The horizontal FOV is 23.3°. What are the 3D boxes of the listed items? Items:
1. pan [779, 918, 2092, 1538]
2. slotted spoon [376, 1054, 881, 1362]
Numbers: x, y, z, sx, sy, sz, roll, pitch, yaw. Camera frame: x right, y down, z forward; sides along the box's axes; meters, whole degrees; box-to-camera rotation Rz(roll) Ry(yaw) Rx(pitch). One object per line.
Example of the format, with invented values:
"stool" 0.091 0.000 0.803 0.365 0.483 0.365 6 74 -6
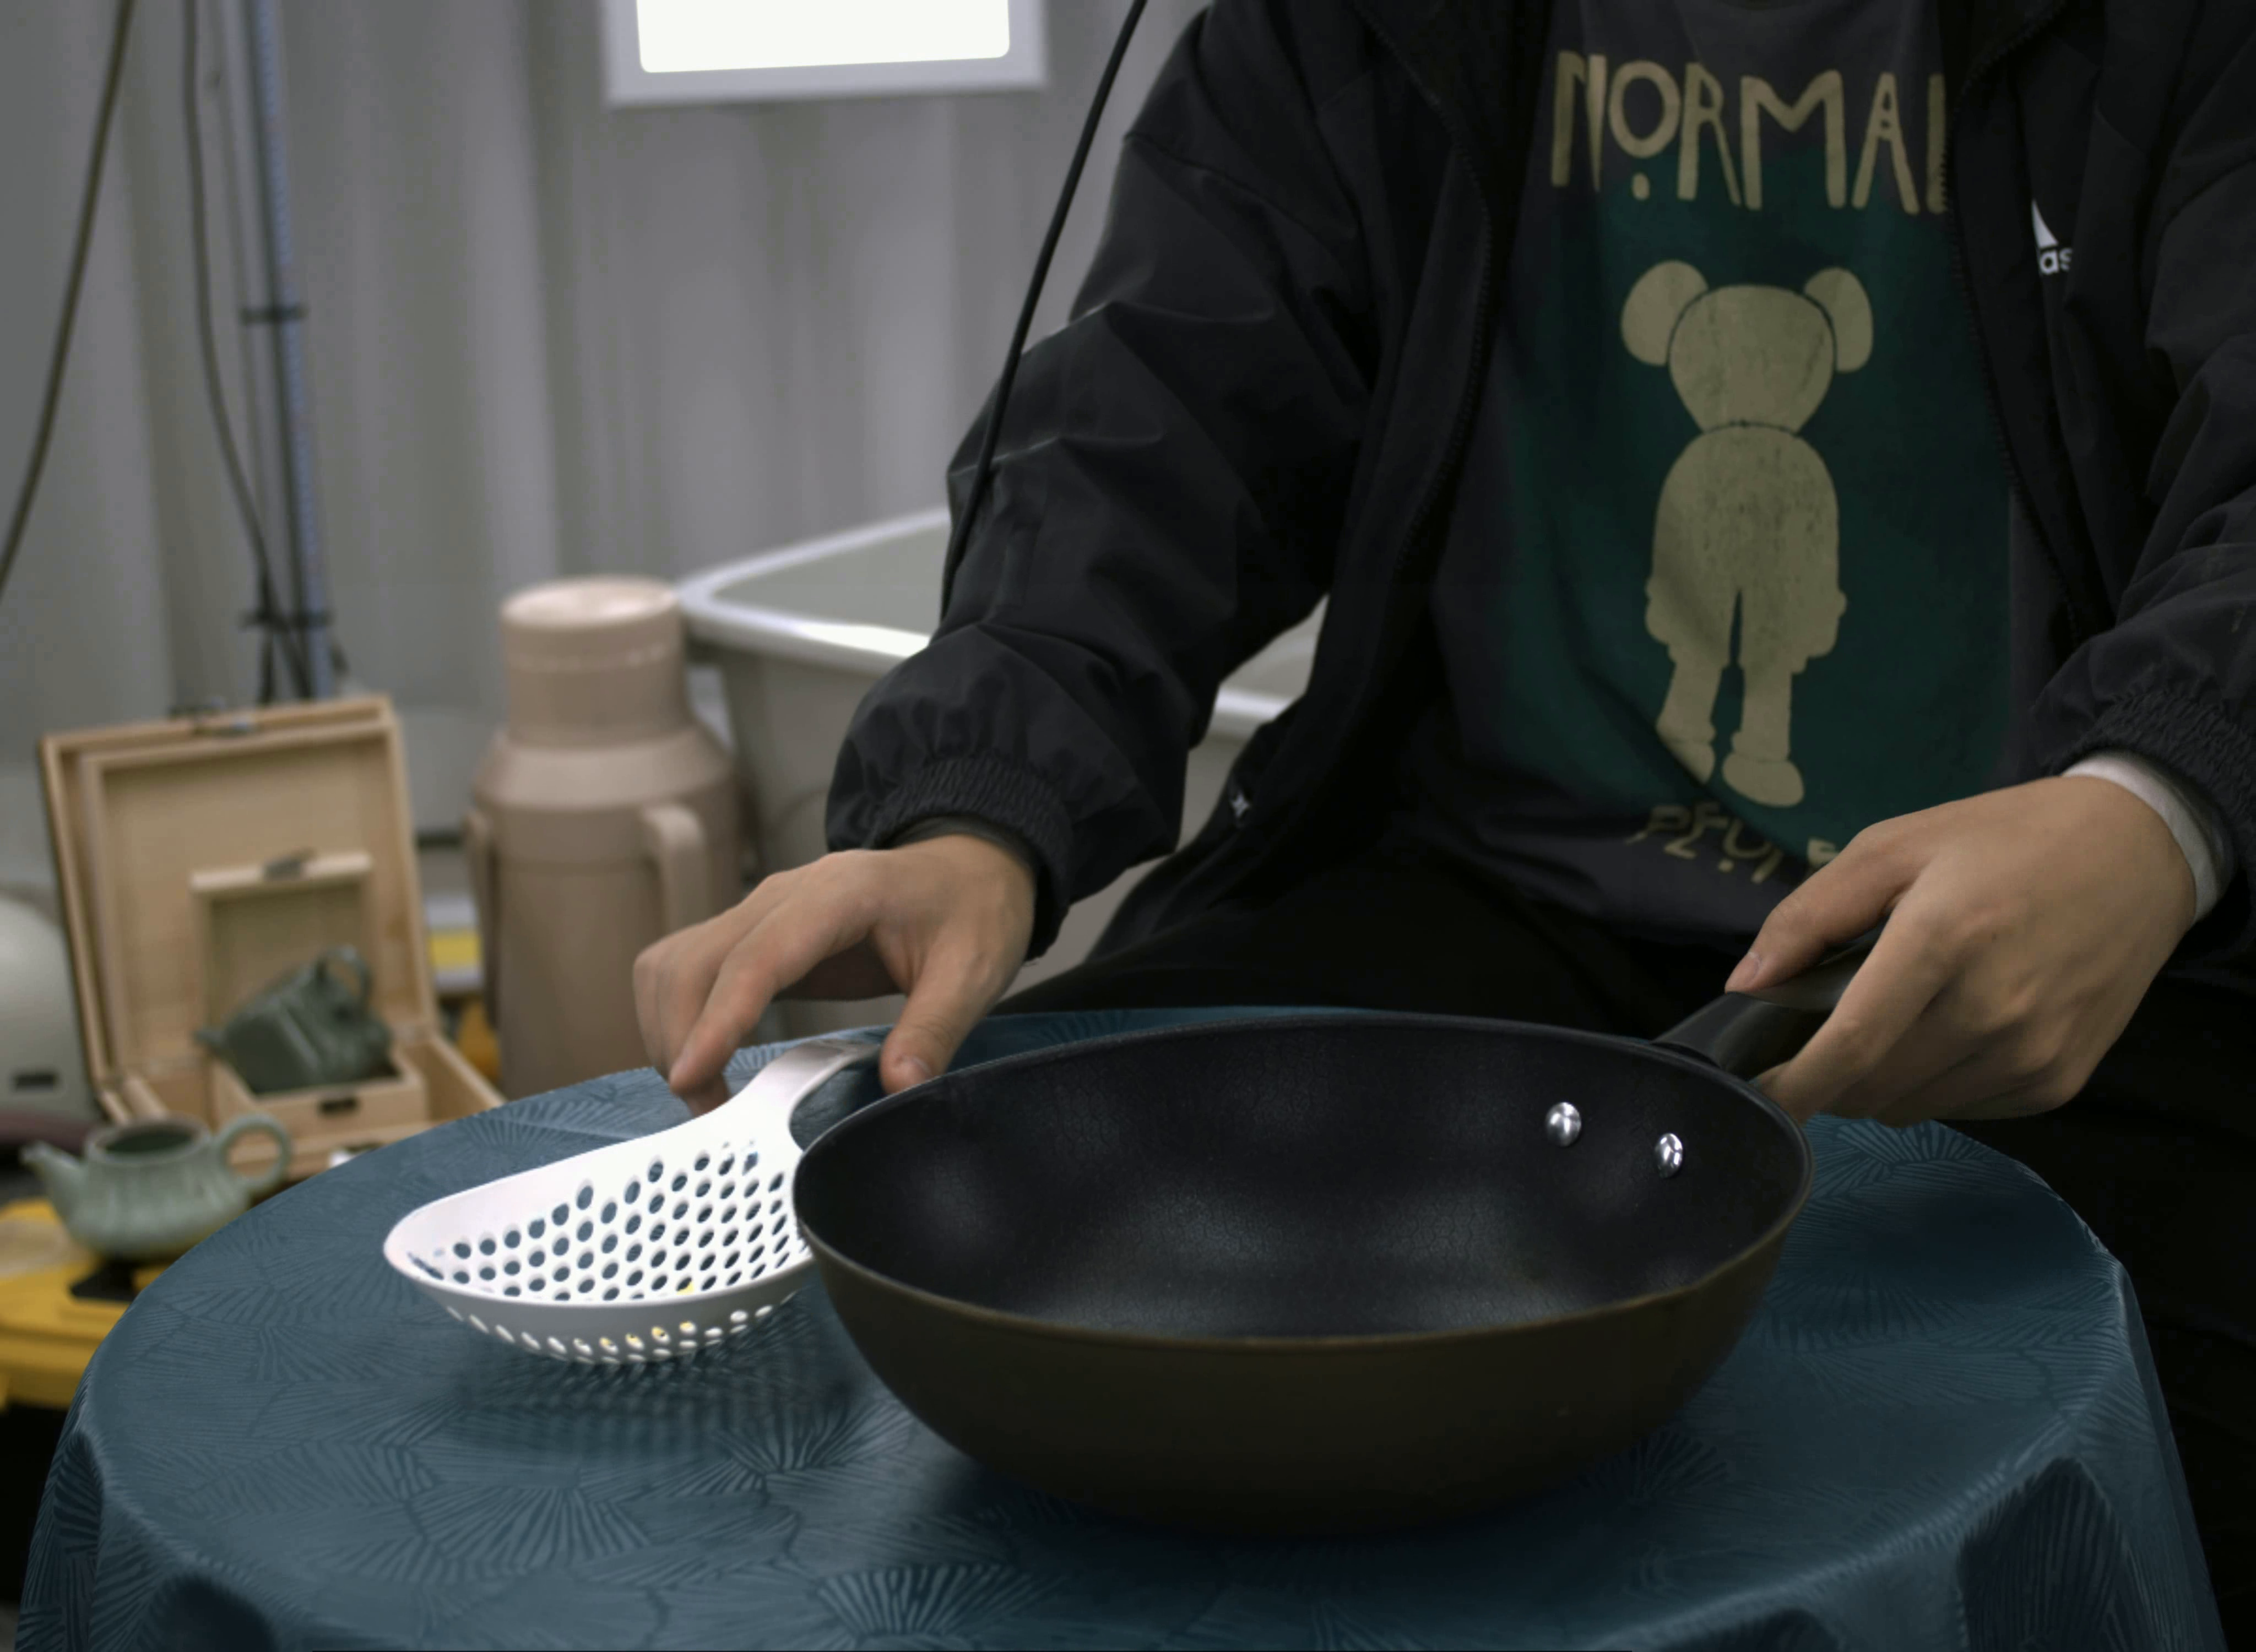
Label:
"pan" 0.113 0.109 1.551 0.462 0.086 0.290 -15 19 -40
"slotted spoon" -0.122 0.105 1.695 0.136 0.050 0.349 1 15 13
